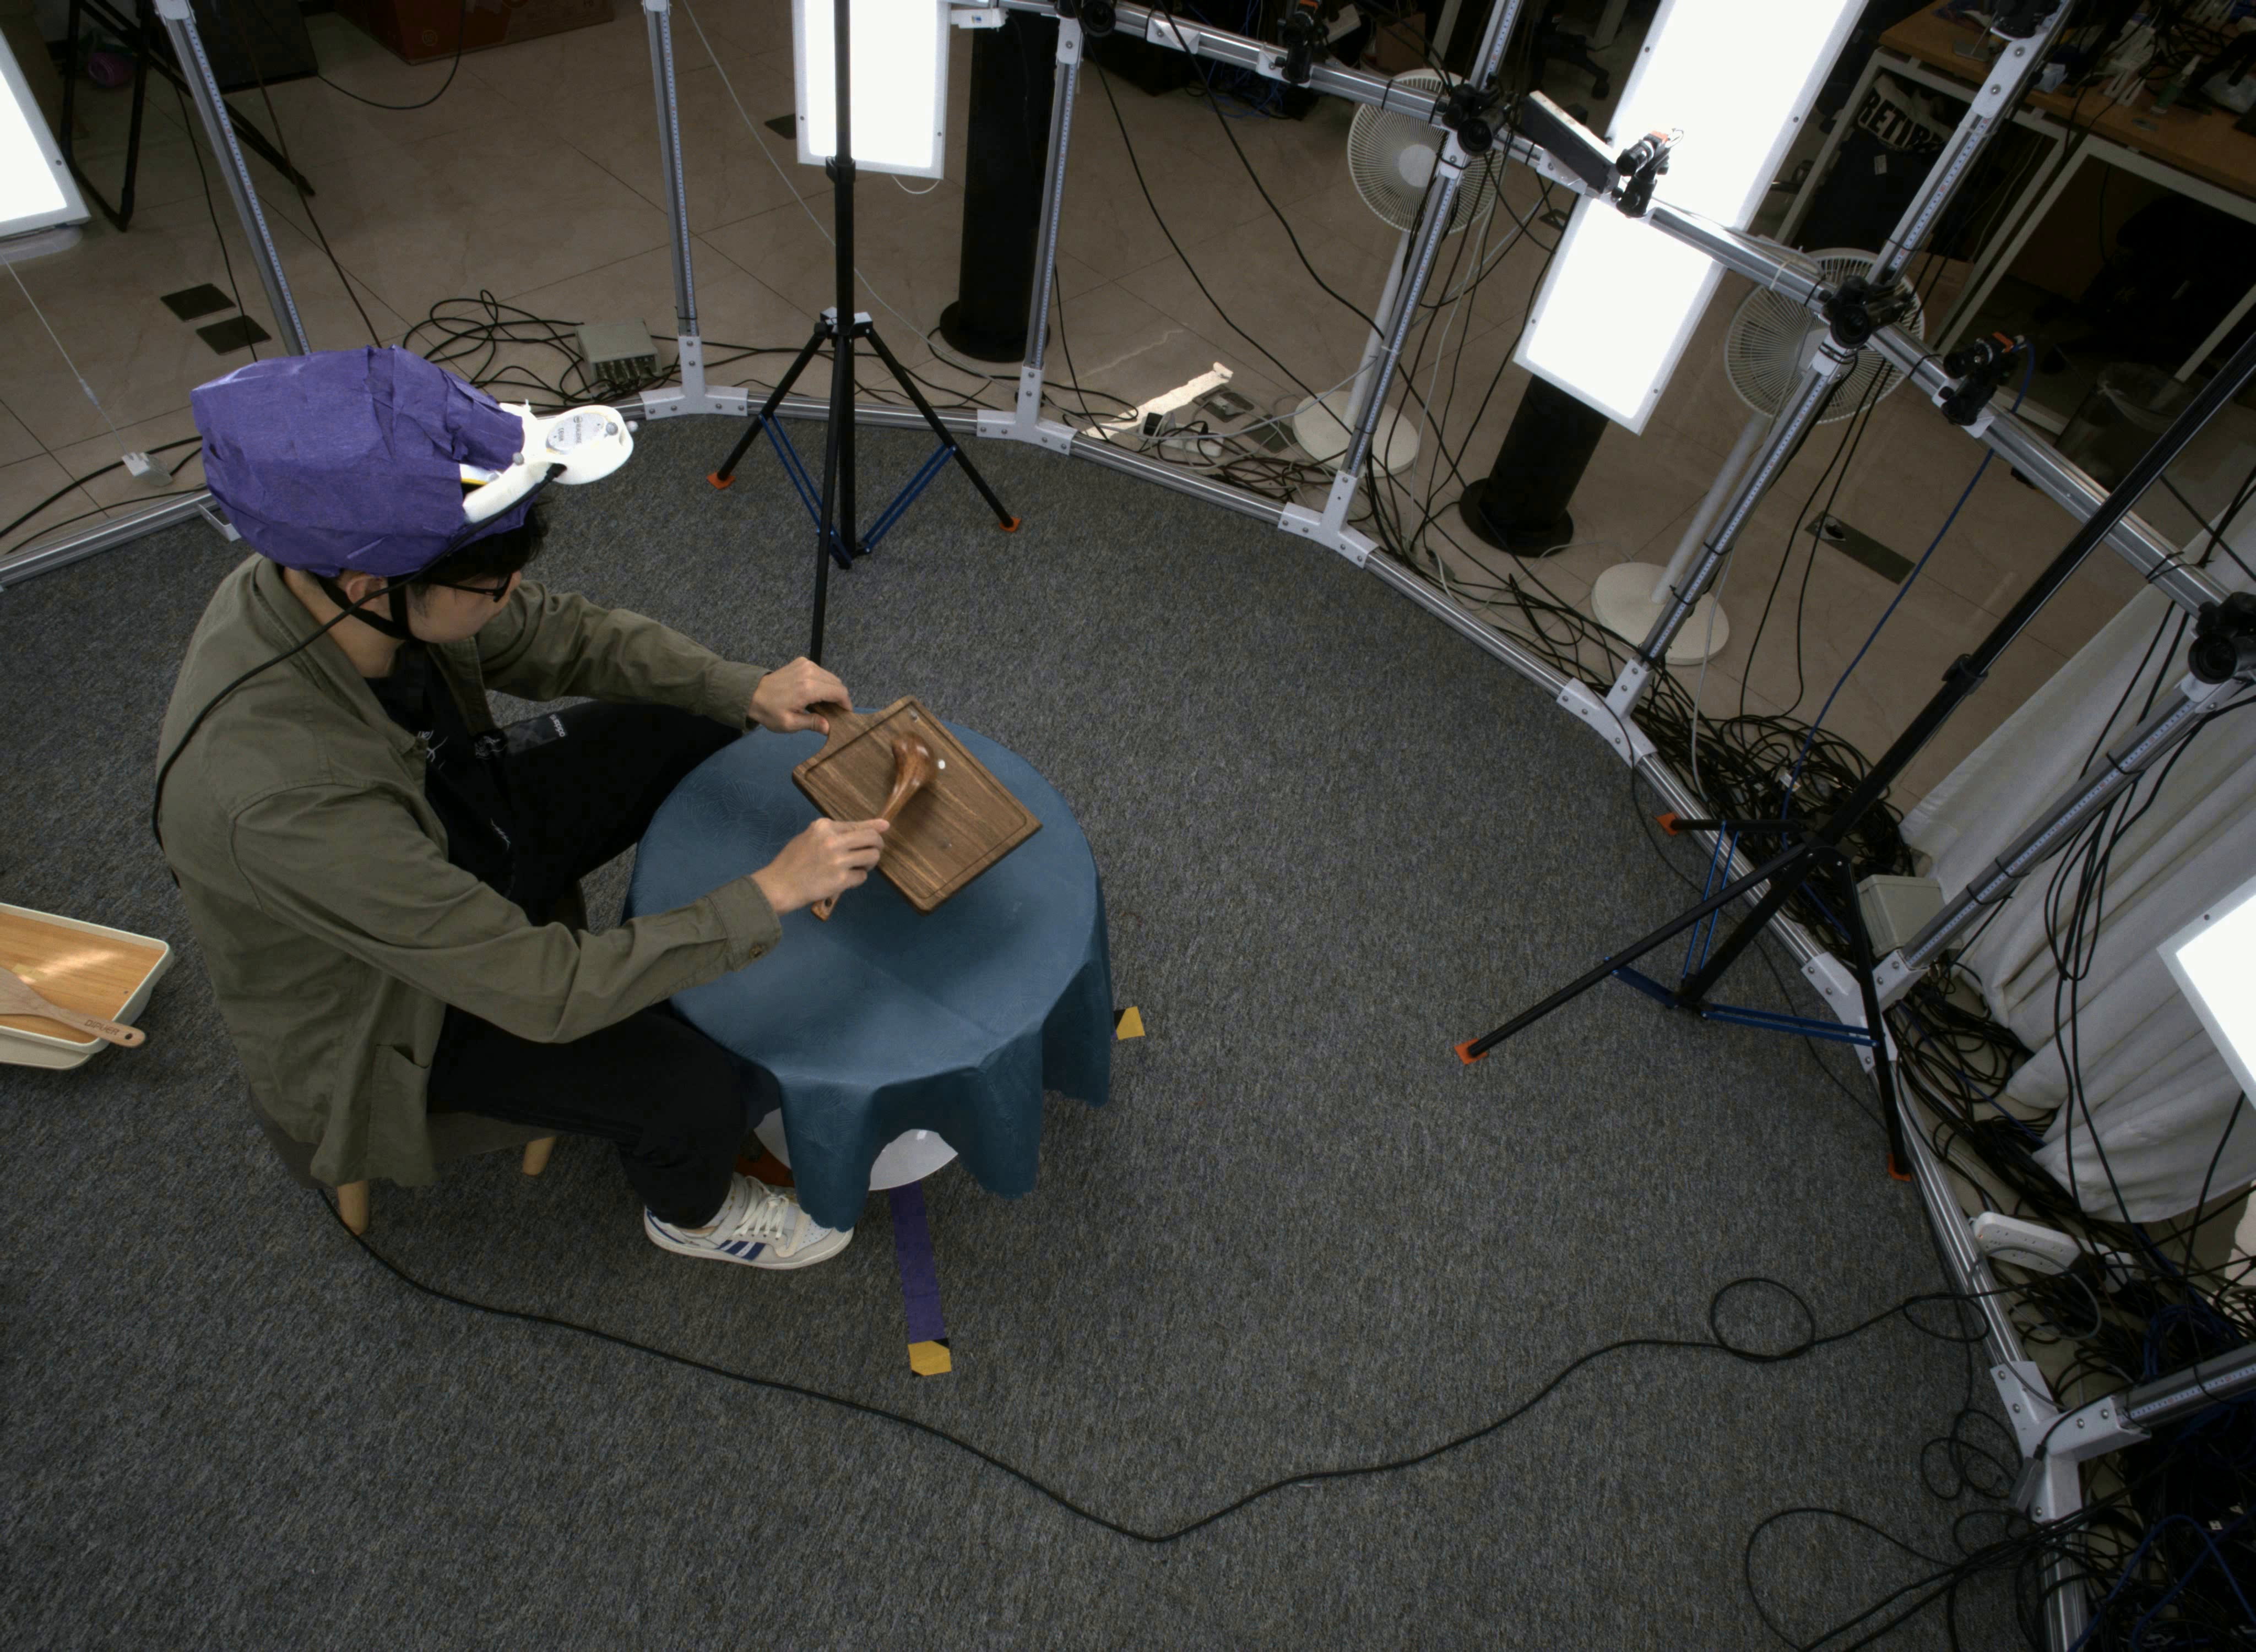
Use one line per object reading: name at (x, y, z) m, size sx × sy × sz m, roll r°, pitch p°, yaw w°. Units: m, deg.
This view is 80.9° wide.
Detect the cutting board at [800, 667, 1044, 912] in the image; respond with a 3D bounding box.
cutting board at (-0.288, -0.073, 1.632) m, size 0.201 × 0.023 × 0.348 m, roll -38°, pitch 79°, yaw -30°

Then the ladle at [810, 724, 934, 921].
ladle at (-0.317, -0.007, 1.553) m, size 0.085 × 0.074 × 0.273 m, roll 45°, pitch 61°, yaw -30°
